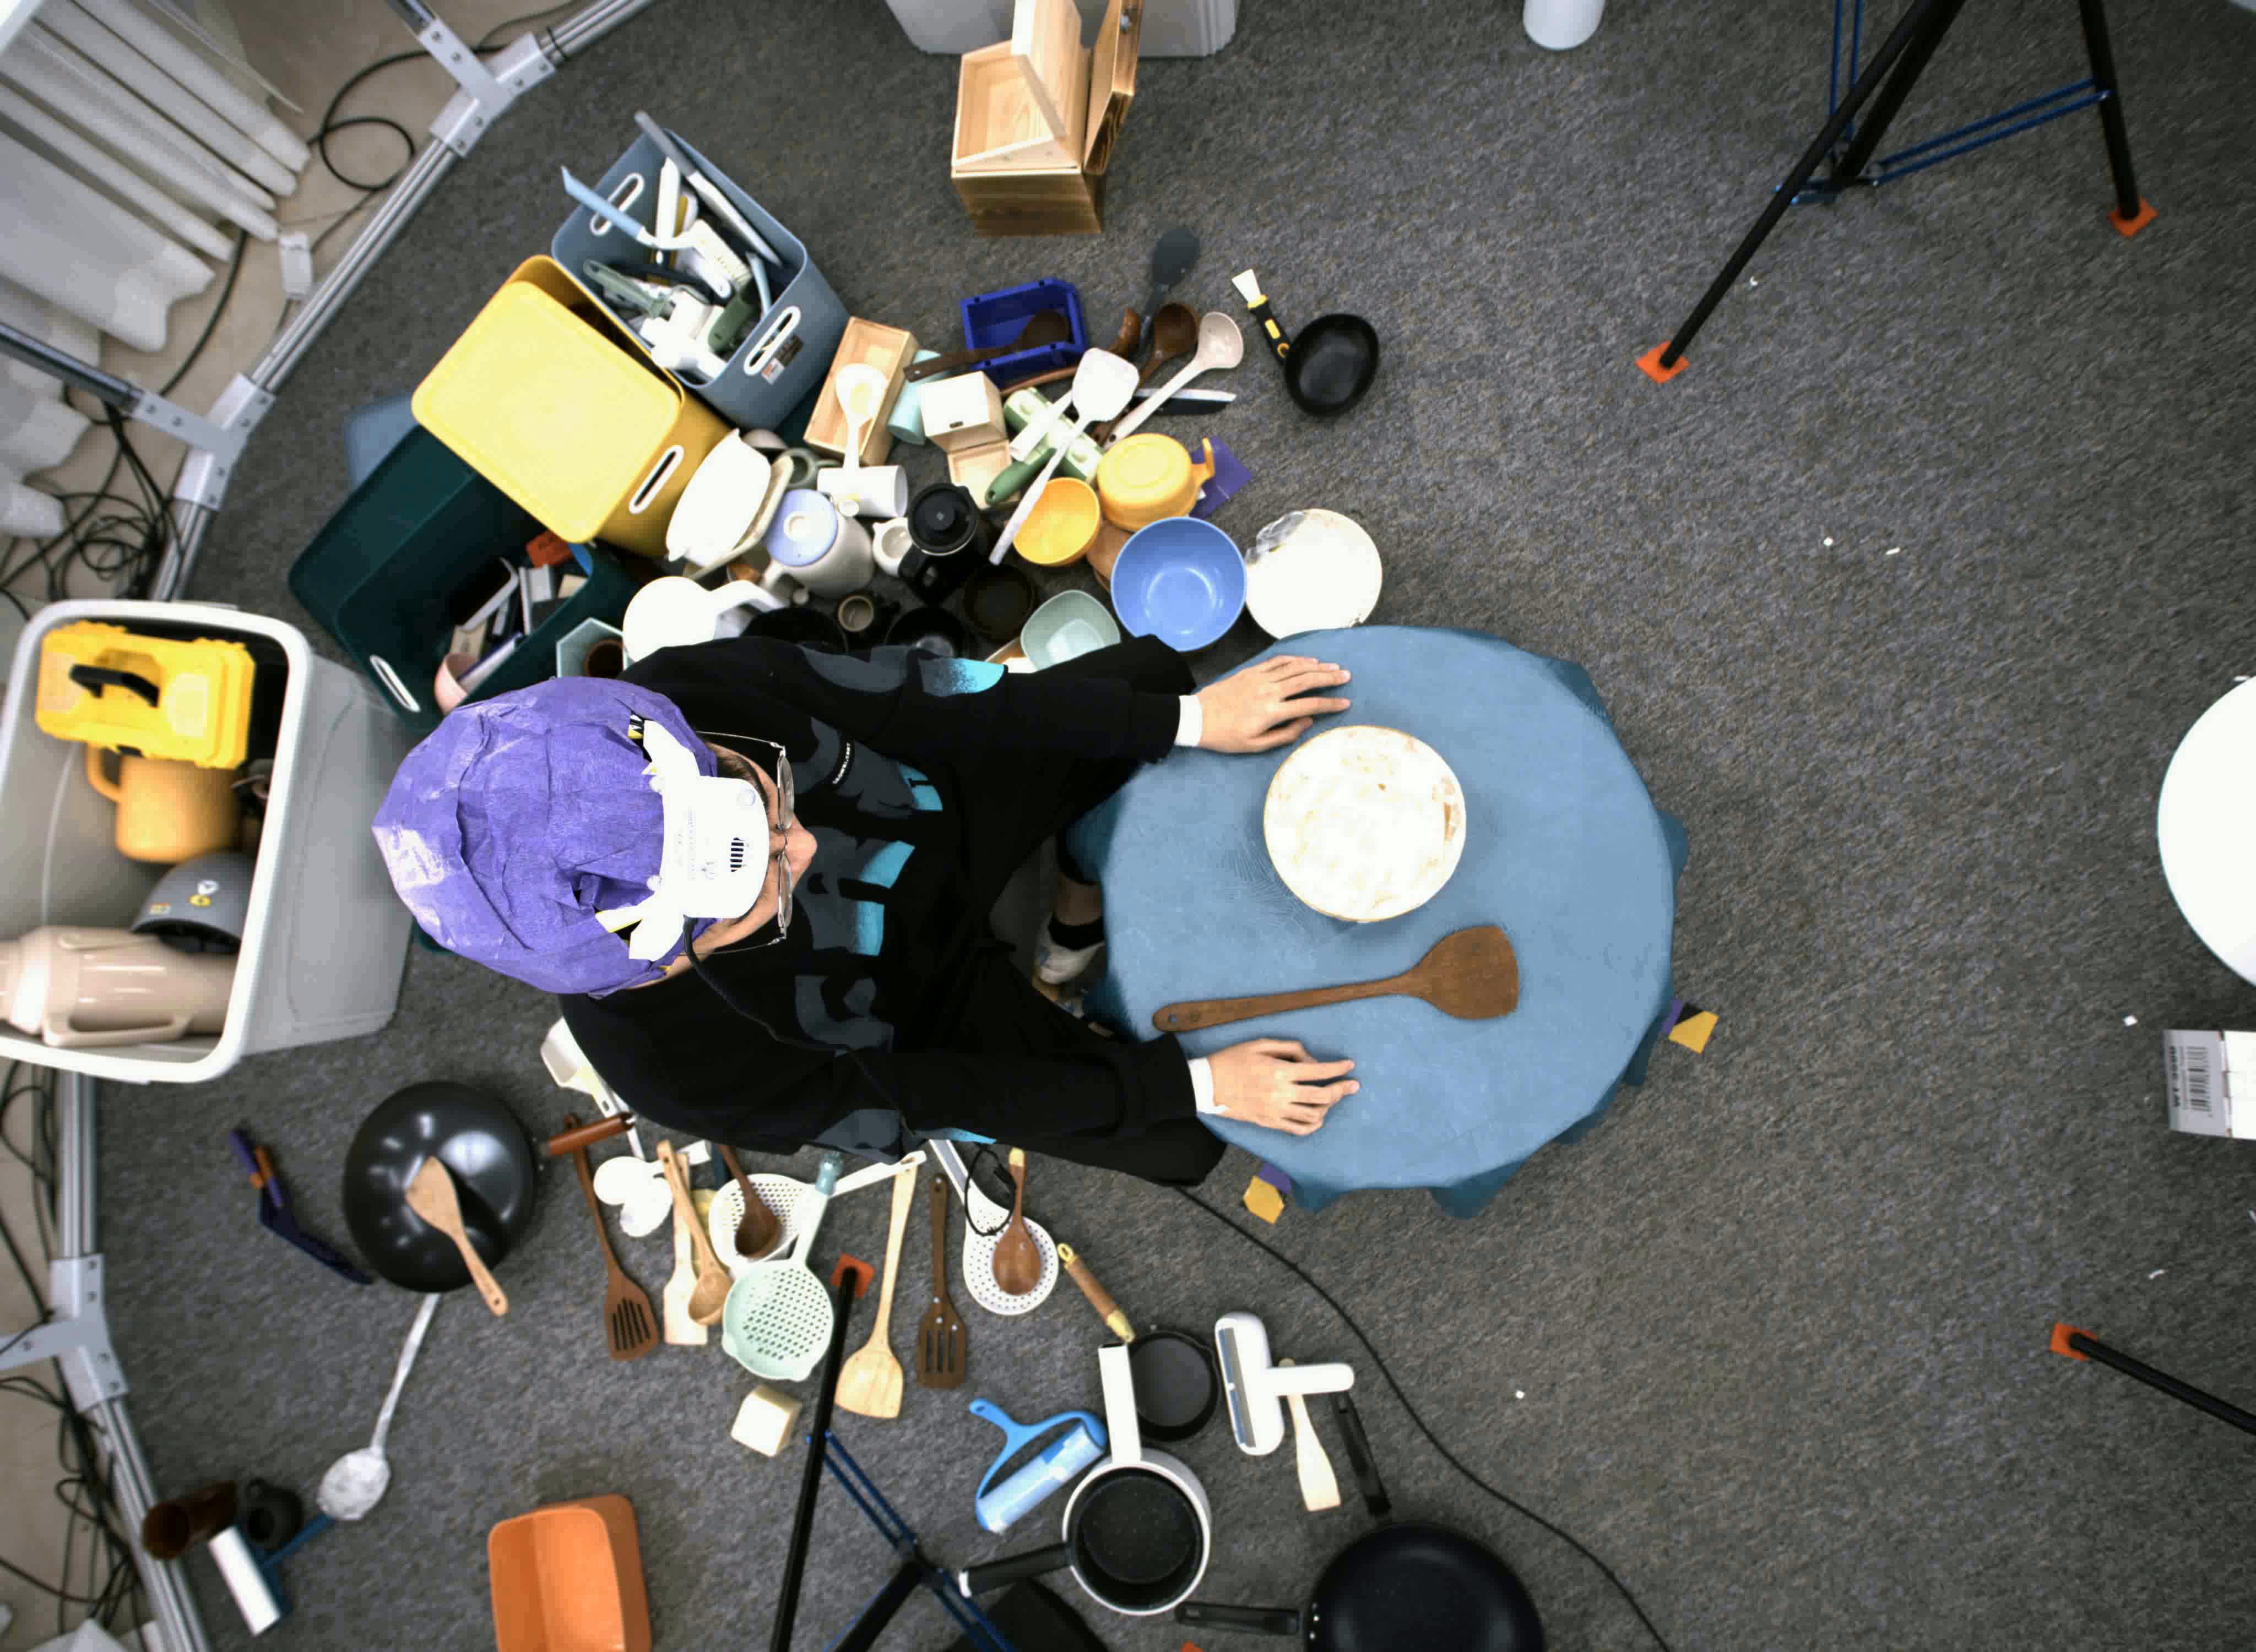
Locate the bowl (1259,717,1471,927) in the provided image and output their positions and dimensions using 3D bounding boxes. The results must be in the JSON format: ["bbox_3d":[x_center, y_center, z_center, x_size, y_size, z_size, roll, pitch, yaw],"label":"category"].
[{"bbox_3d":[0.244,-0.001,1.427,0.215,0.094,0.214,-1,87,11],"label":"bowl"}]

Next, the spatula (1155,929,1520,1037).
[{"bbox_3d":[0.217,0.181,1.460,0.388,0.016,0.095,-10,84,10],"label":"spatula"}]
